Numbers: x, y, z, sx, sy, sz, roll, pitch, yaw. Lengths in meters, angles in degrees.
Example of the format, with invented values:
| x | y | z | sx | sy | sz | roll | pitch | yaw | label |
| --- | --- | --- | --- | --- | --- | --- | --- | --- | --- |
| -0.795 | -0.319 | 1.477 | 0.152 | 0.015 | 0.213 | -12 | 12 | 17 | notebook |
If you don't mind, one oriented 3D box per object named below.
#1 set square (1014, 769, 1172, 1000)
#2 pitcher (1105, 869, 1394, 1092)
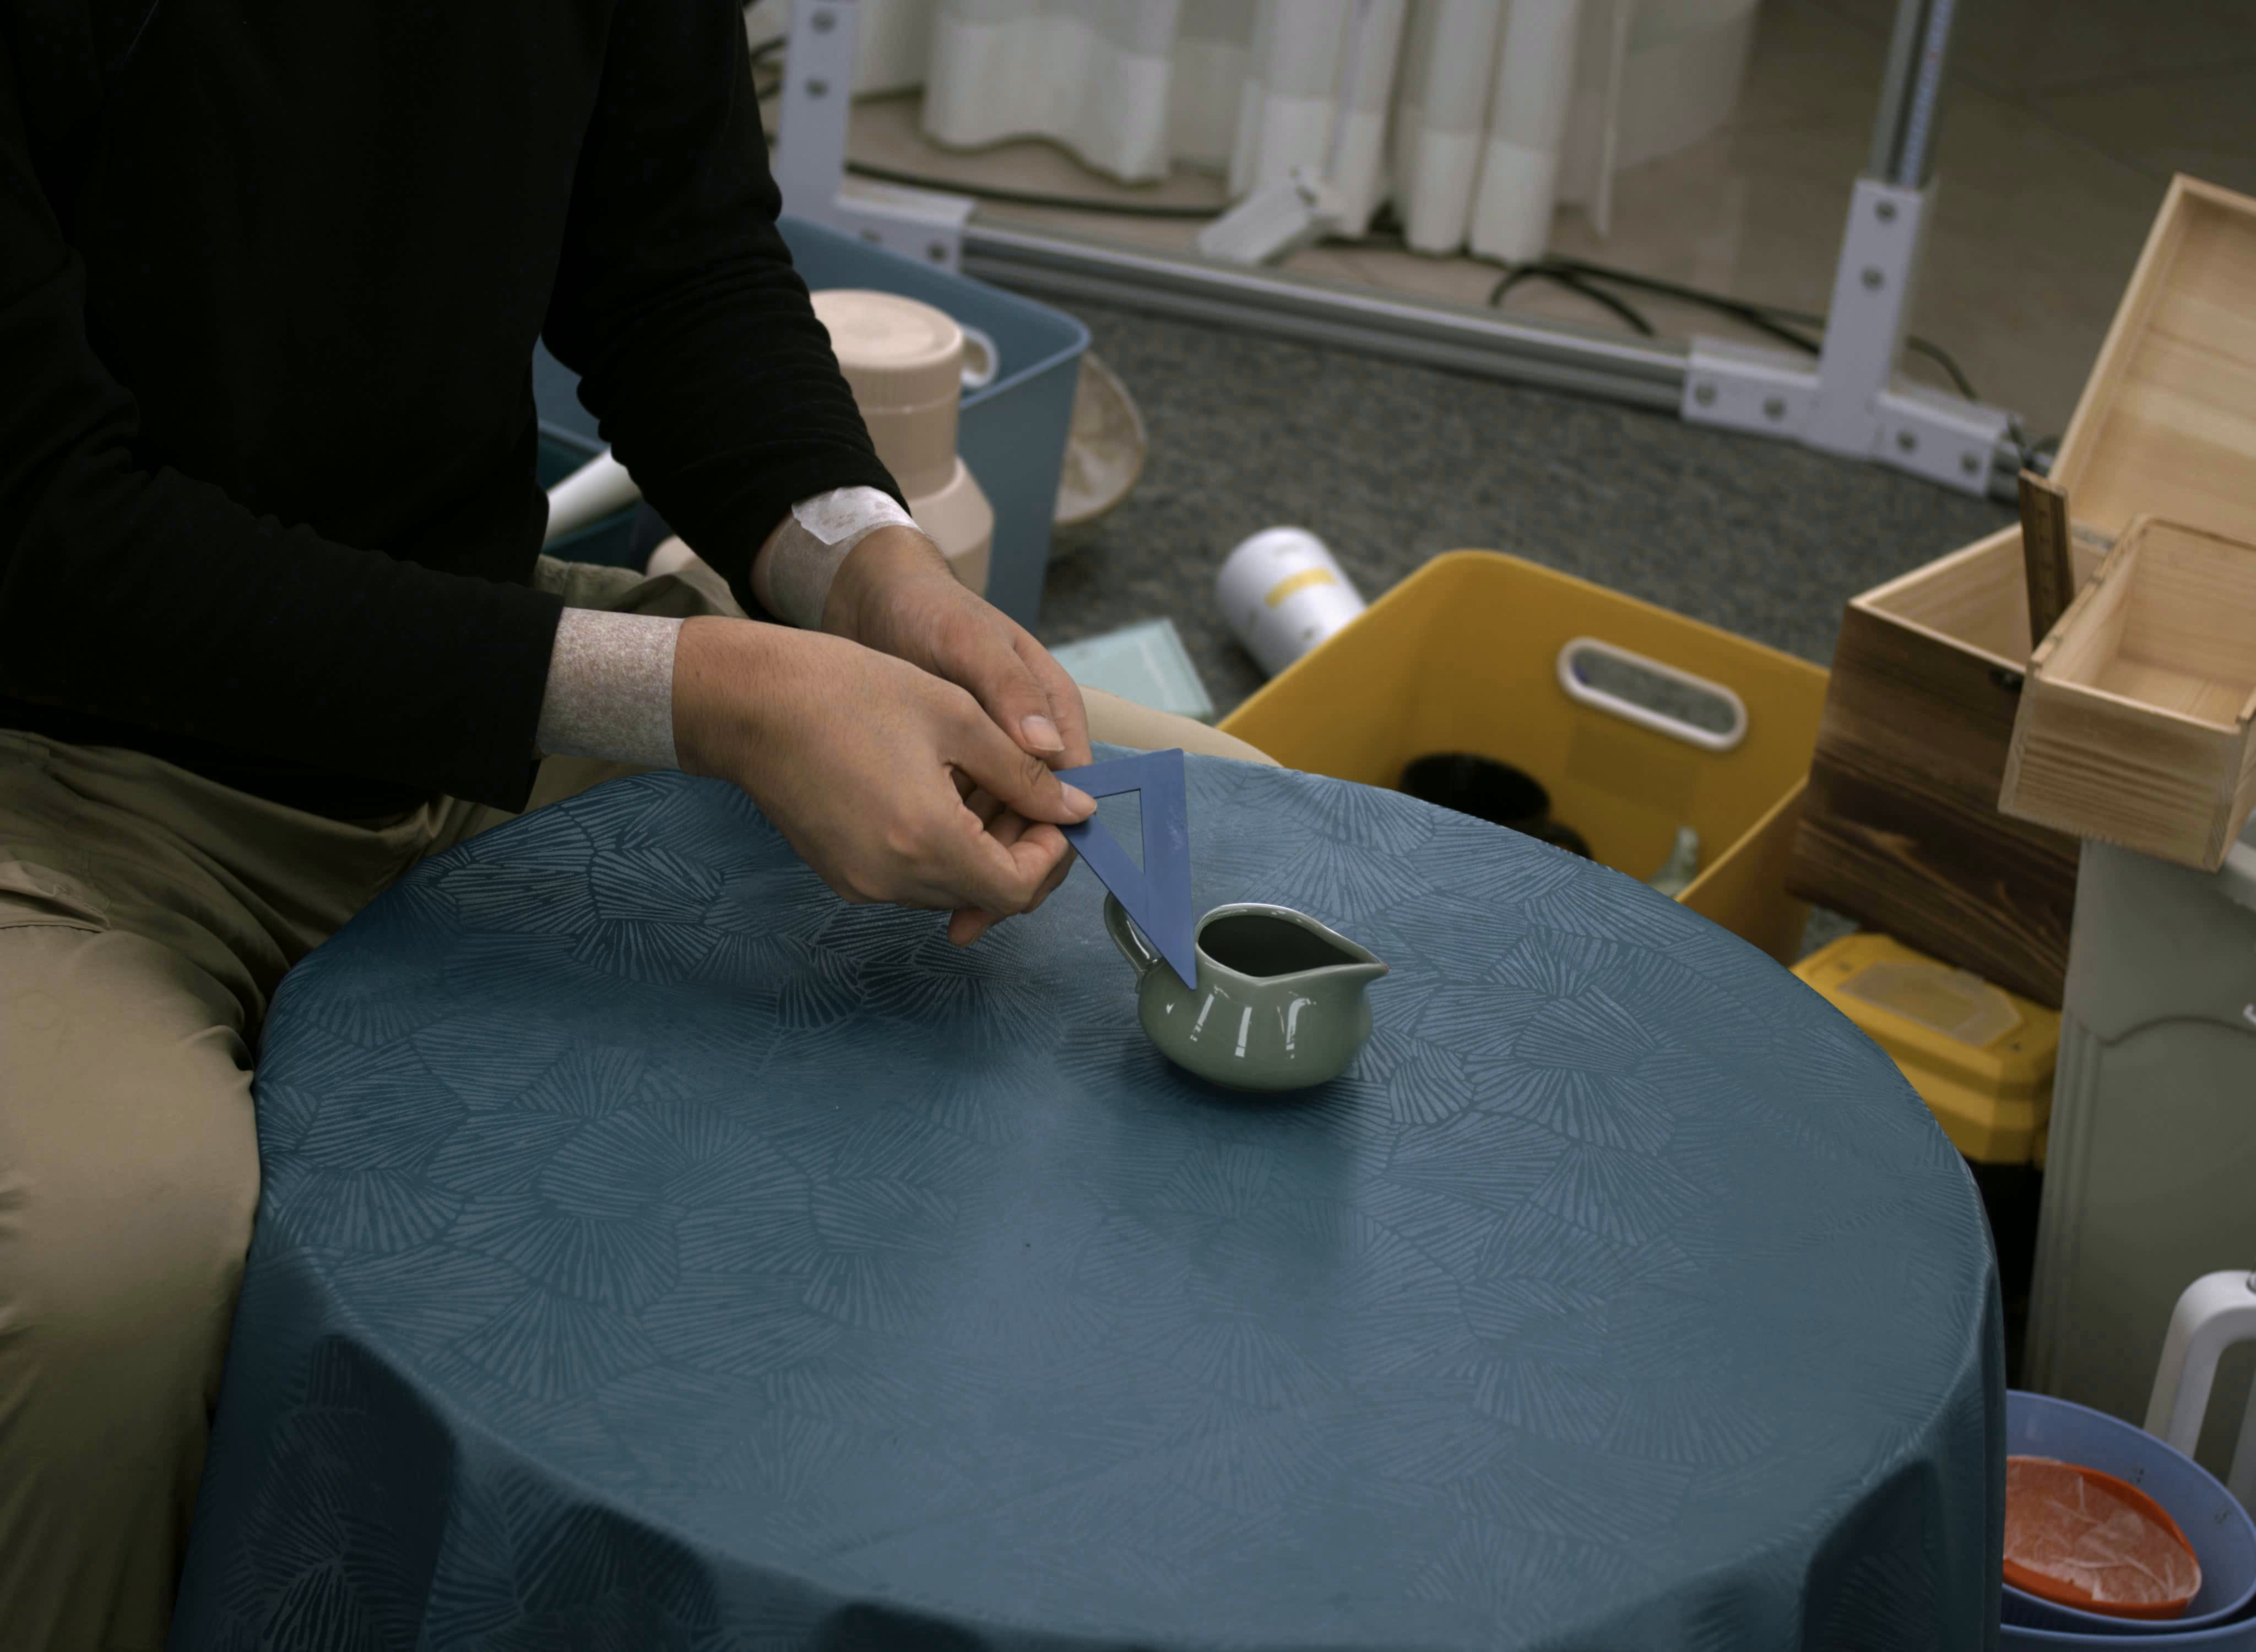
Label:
| x | y | z | sx | sy | sz | roll | pitch | yaw | label |
| --- | --- | --- | --- | --- | --- | --- | --- | --- | --- |
| -0.013 | 0.014 | 1.883 | 0.061 | 0.006 | 0.133 | 13 | 37 | -7 | set square |
| 0.040 | 0.055 | 1.883 | 0.113 | 0.056 | 0.084 | 20 | 27 | 23 | pitcher |
